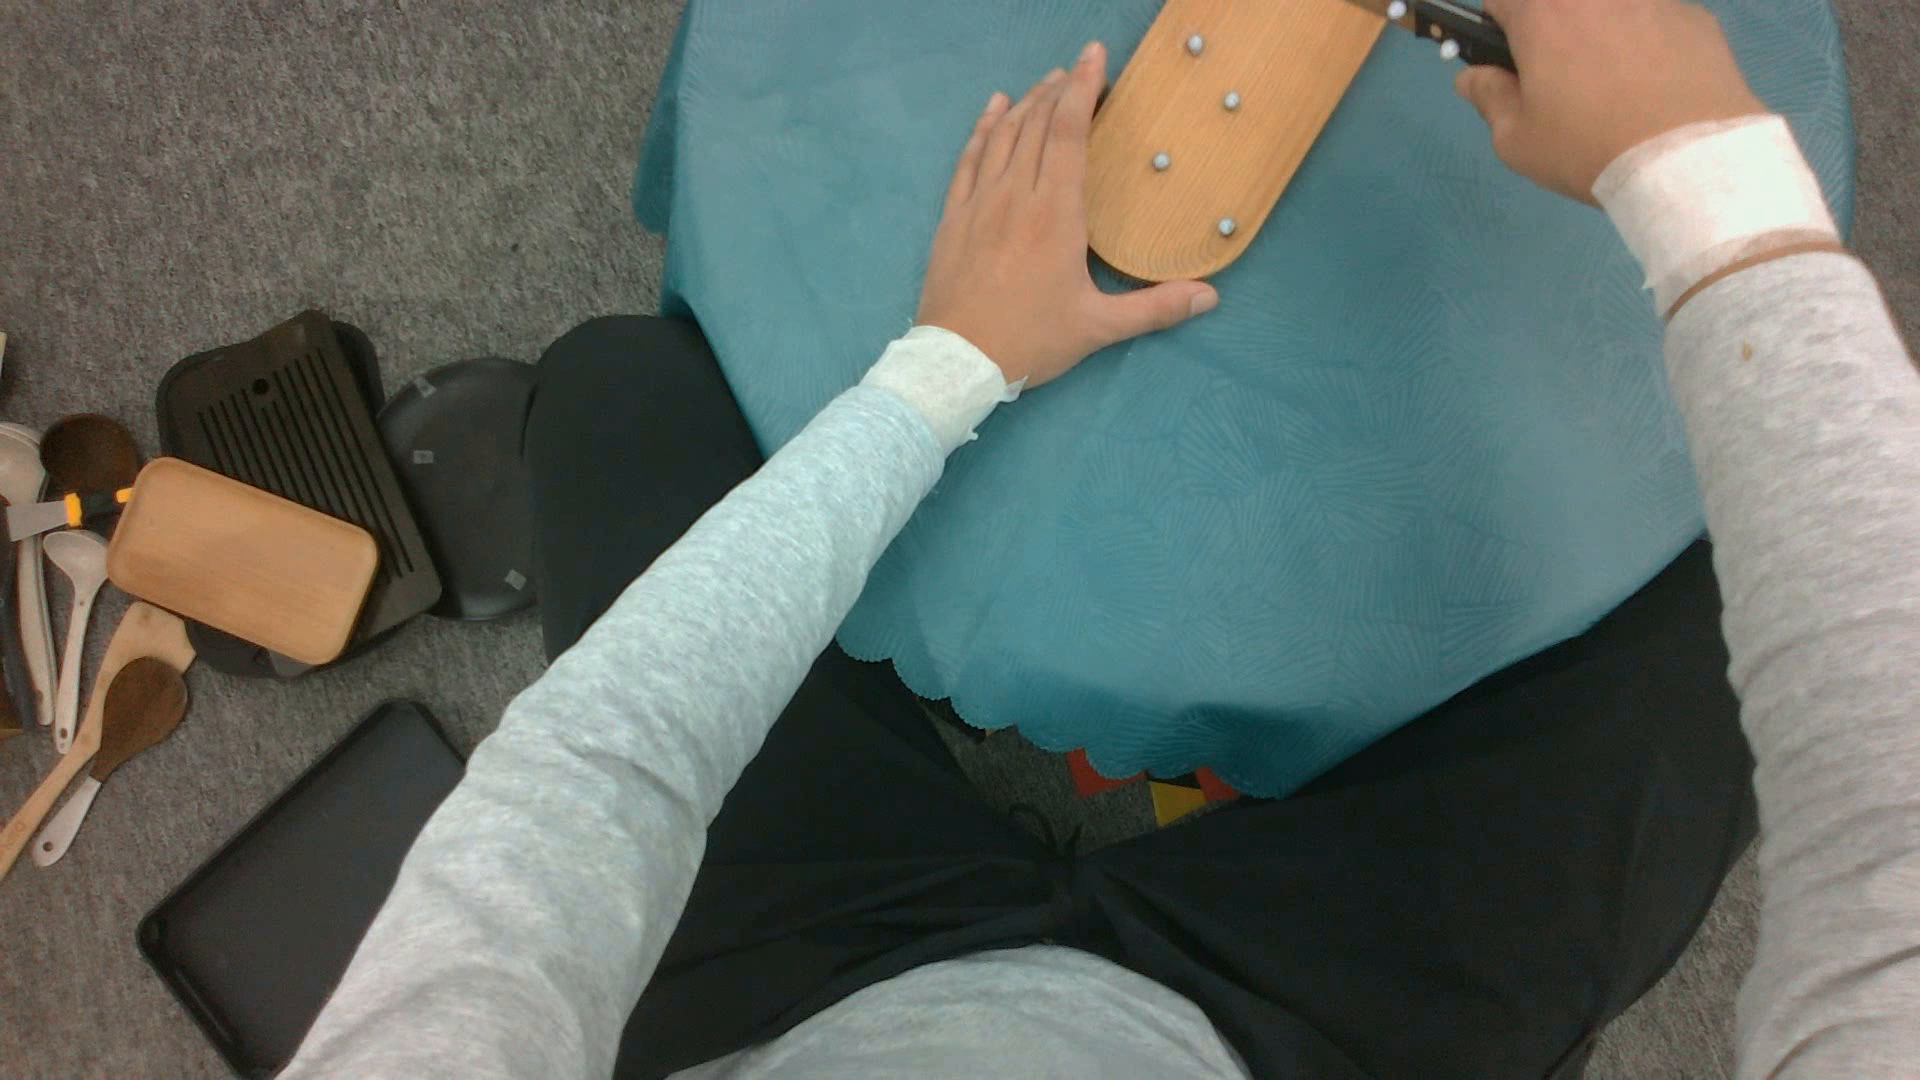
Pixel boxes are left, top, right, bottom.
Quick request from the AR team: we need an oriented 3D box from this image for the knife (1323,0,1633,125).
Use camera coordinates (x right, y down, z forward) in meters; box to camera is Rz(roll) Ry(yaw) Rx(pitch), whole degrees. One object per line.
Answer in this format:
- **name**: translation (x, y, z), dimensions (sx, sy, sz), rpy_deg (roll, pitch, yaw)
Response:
- **knife**: translation (0.192, -0.240, 0.622), dimensions (0.238, 0.024, 0.016), rpy_deg (38, 88, 31)

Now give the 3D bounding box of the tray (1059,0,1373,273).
- **tray**: translation (0.133, -0.241, 0.707), dimensions (0.101, 0.020, 0.231), rpy_deg (30, 82, 4)
